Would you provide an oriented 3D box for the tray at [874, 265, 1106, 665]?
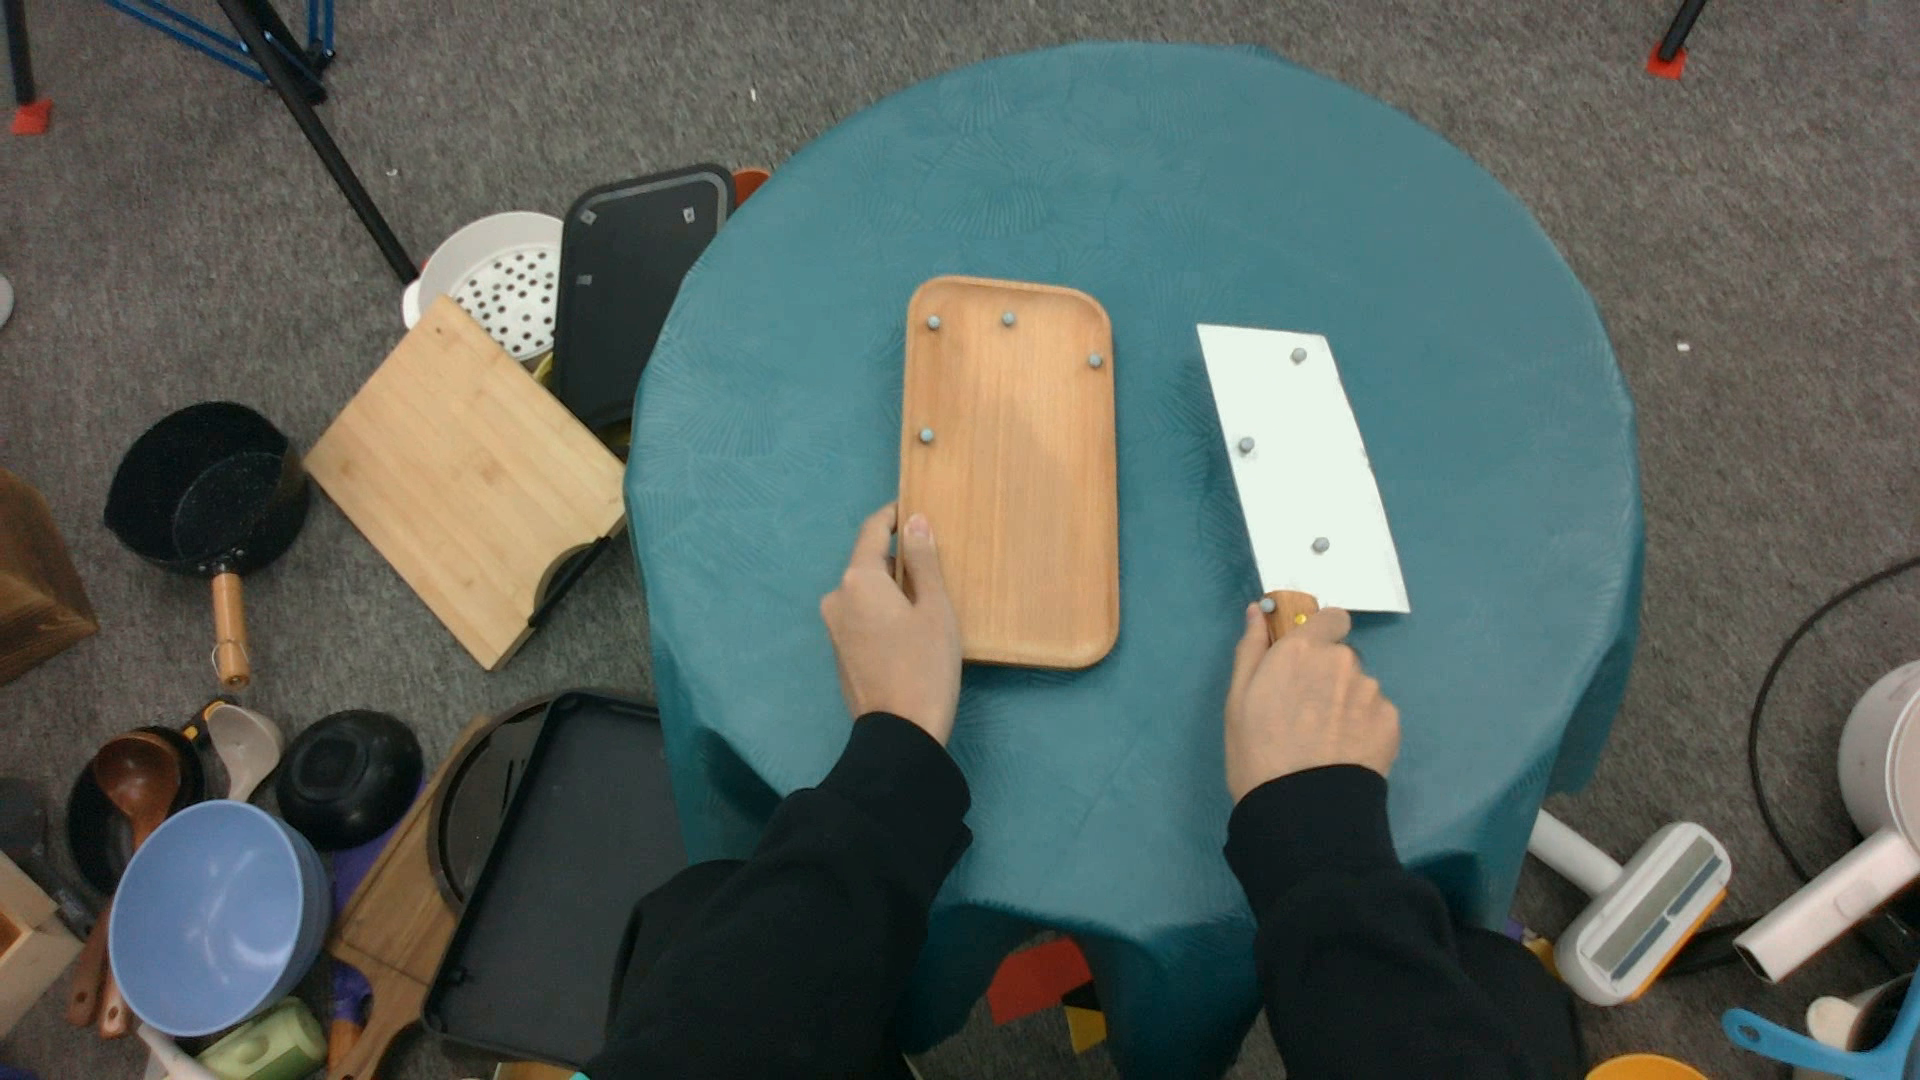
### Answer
[{"bbox_3d":[0.021,-0.048,0.801,0.130,0.023,0.251,6,65,-5],"label":"tray"}]

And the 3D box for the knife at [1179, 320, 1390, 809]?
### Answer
[{"bbox_3d":[0.190,0.000,0.765,0.093,0.021,0.307,2,60,-17],"label":"knife"}]
